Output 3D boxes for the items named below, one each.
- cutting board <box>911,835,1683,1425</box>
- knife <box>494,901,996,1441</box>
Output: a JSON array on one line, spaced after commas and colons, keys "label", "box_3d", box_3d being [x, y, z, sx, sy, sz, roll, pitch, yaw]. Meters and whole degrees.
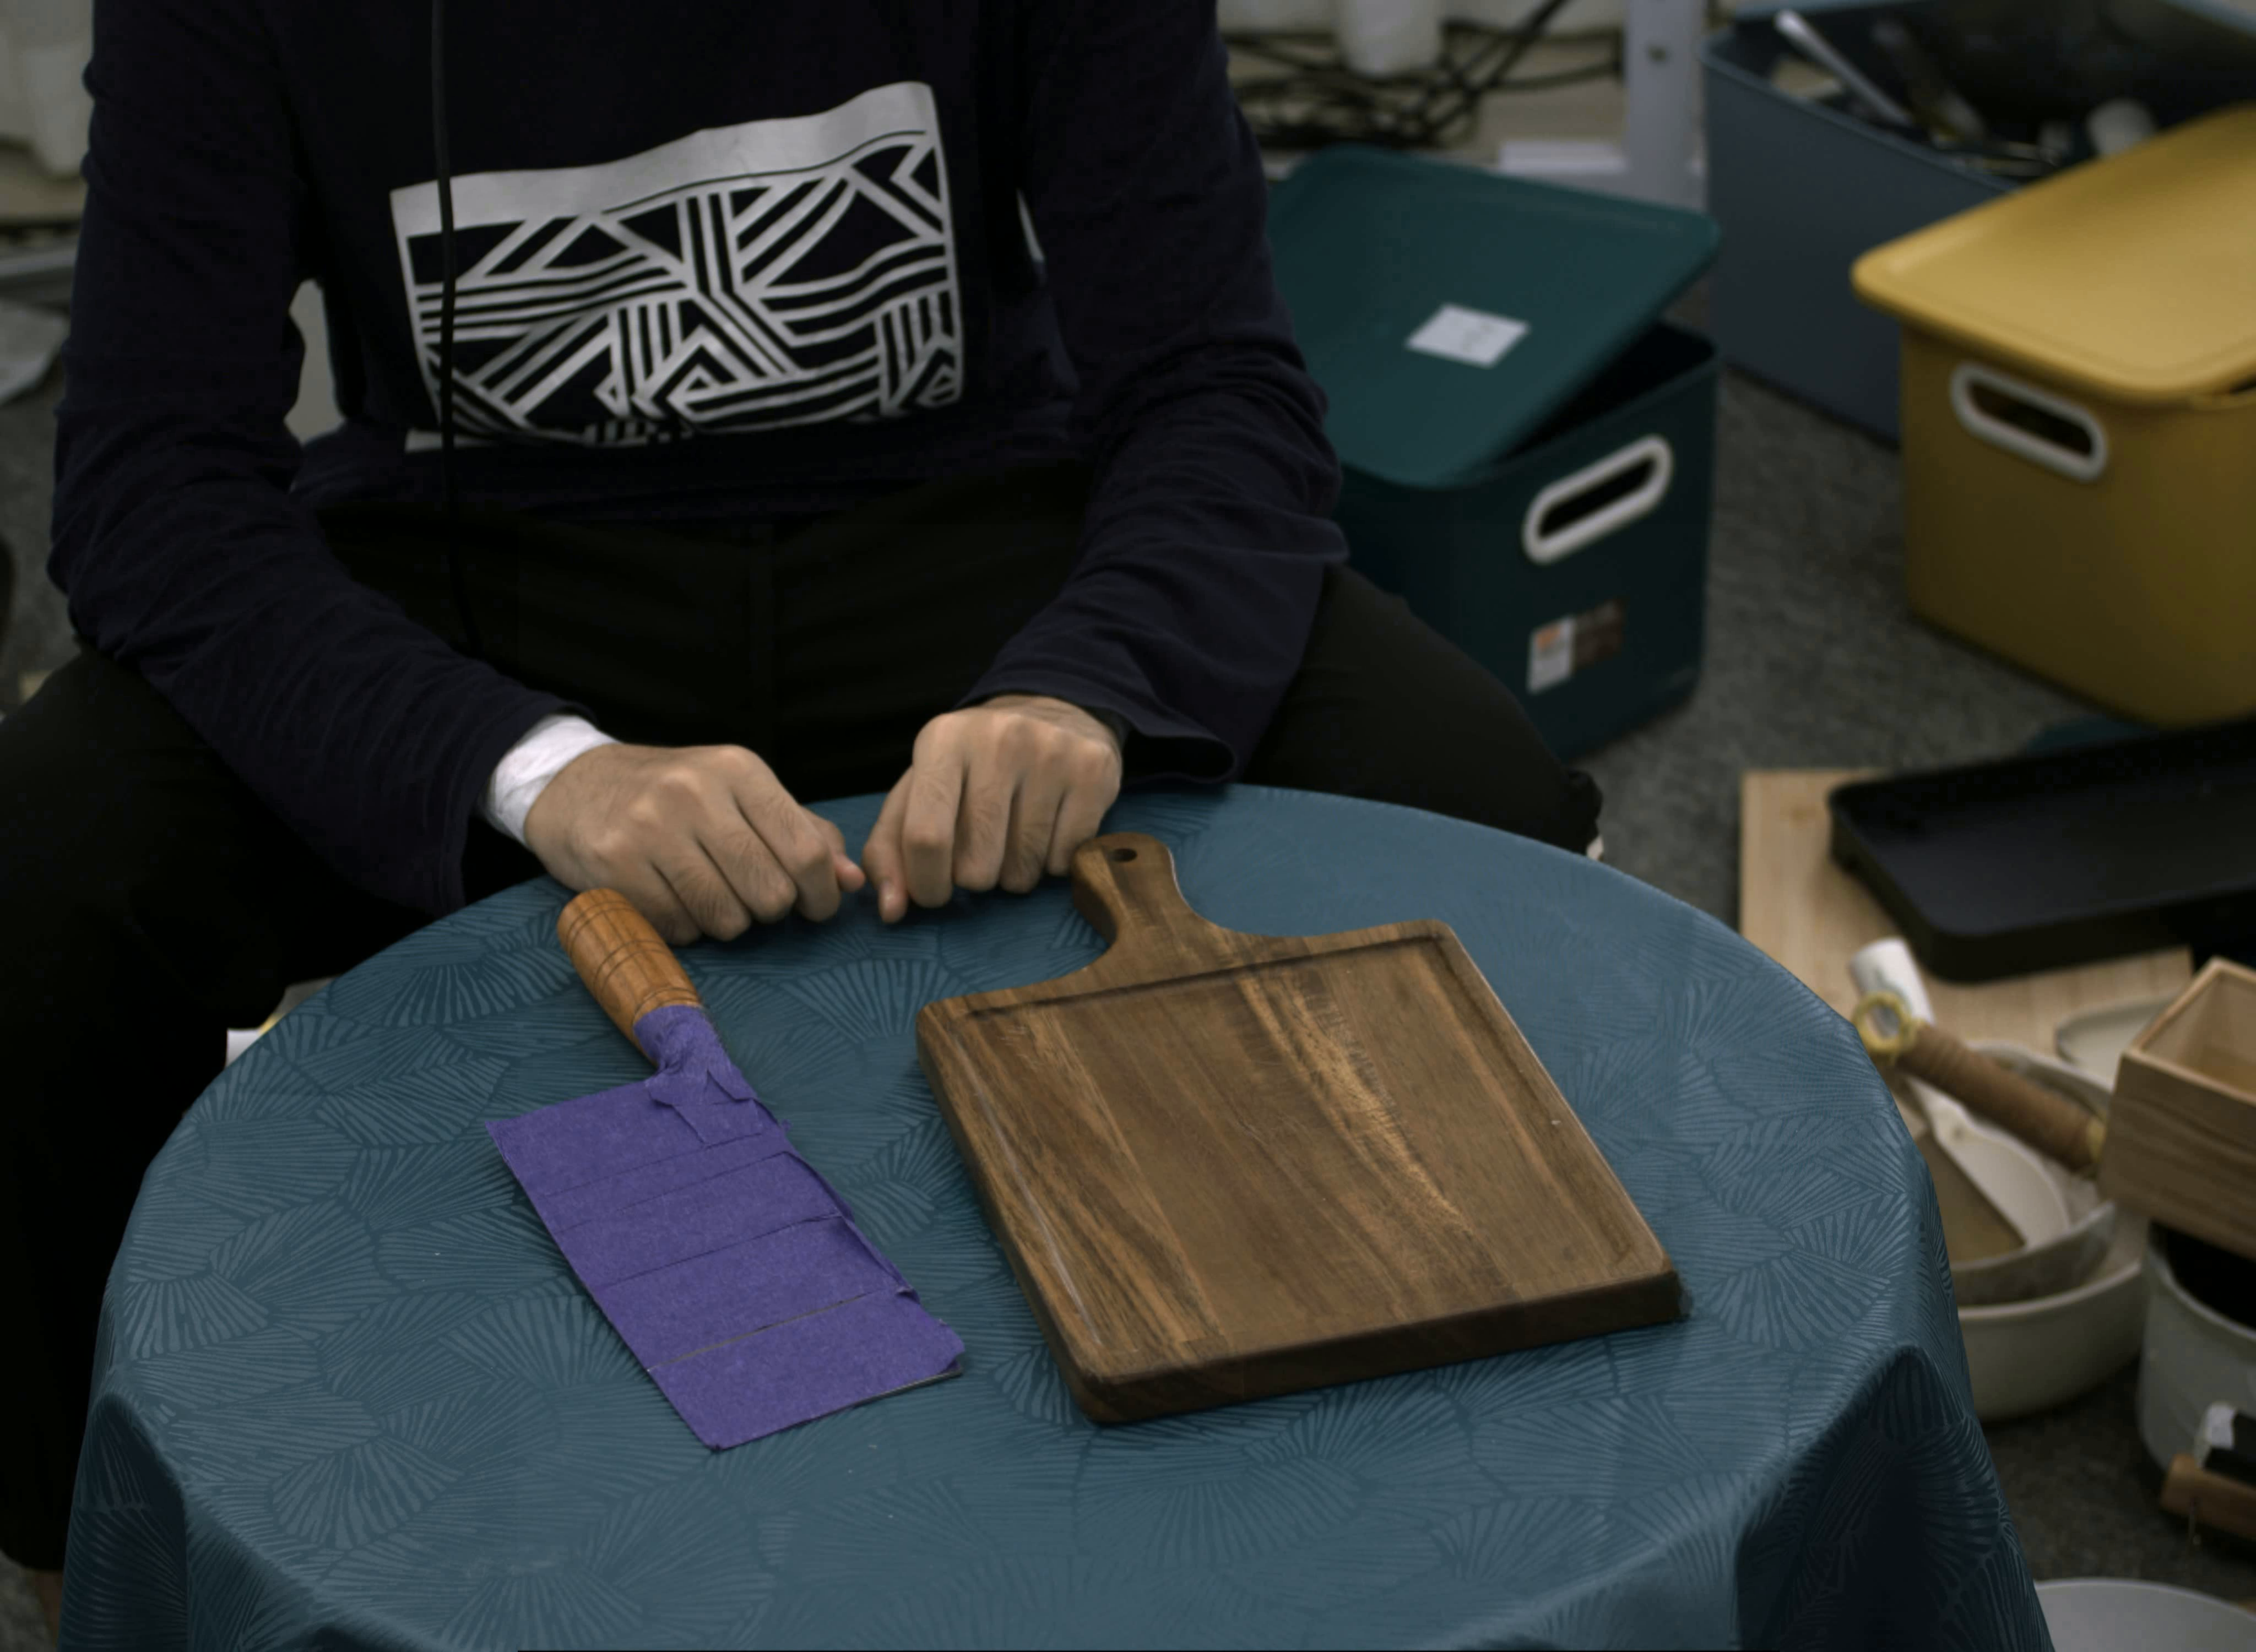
[{"label": "cutting board", "box_3d": [0.038, 0.088, 1.902, 0.201, 0.023, 0.356, -9, 27, -12]}, {"label": "knife", "box_3d": [-0.154, 0.110, 1.869, 0.104, 0.032, 0.317, -14, 30, -22]}]
